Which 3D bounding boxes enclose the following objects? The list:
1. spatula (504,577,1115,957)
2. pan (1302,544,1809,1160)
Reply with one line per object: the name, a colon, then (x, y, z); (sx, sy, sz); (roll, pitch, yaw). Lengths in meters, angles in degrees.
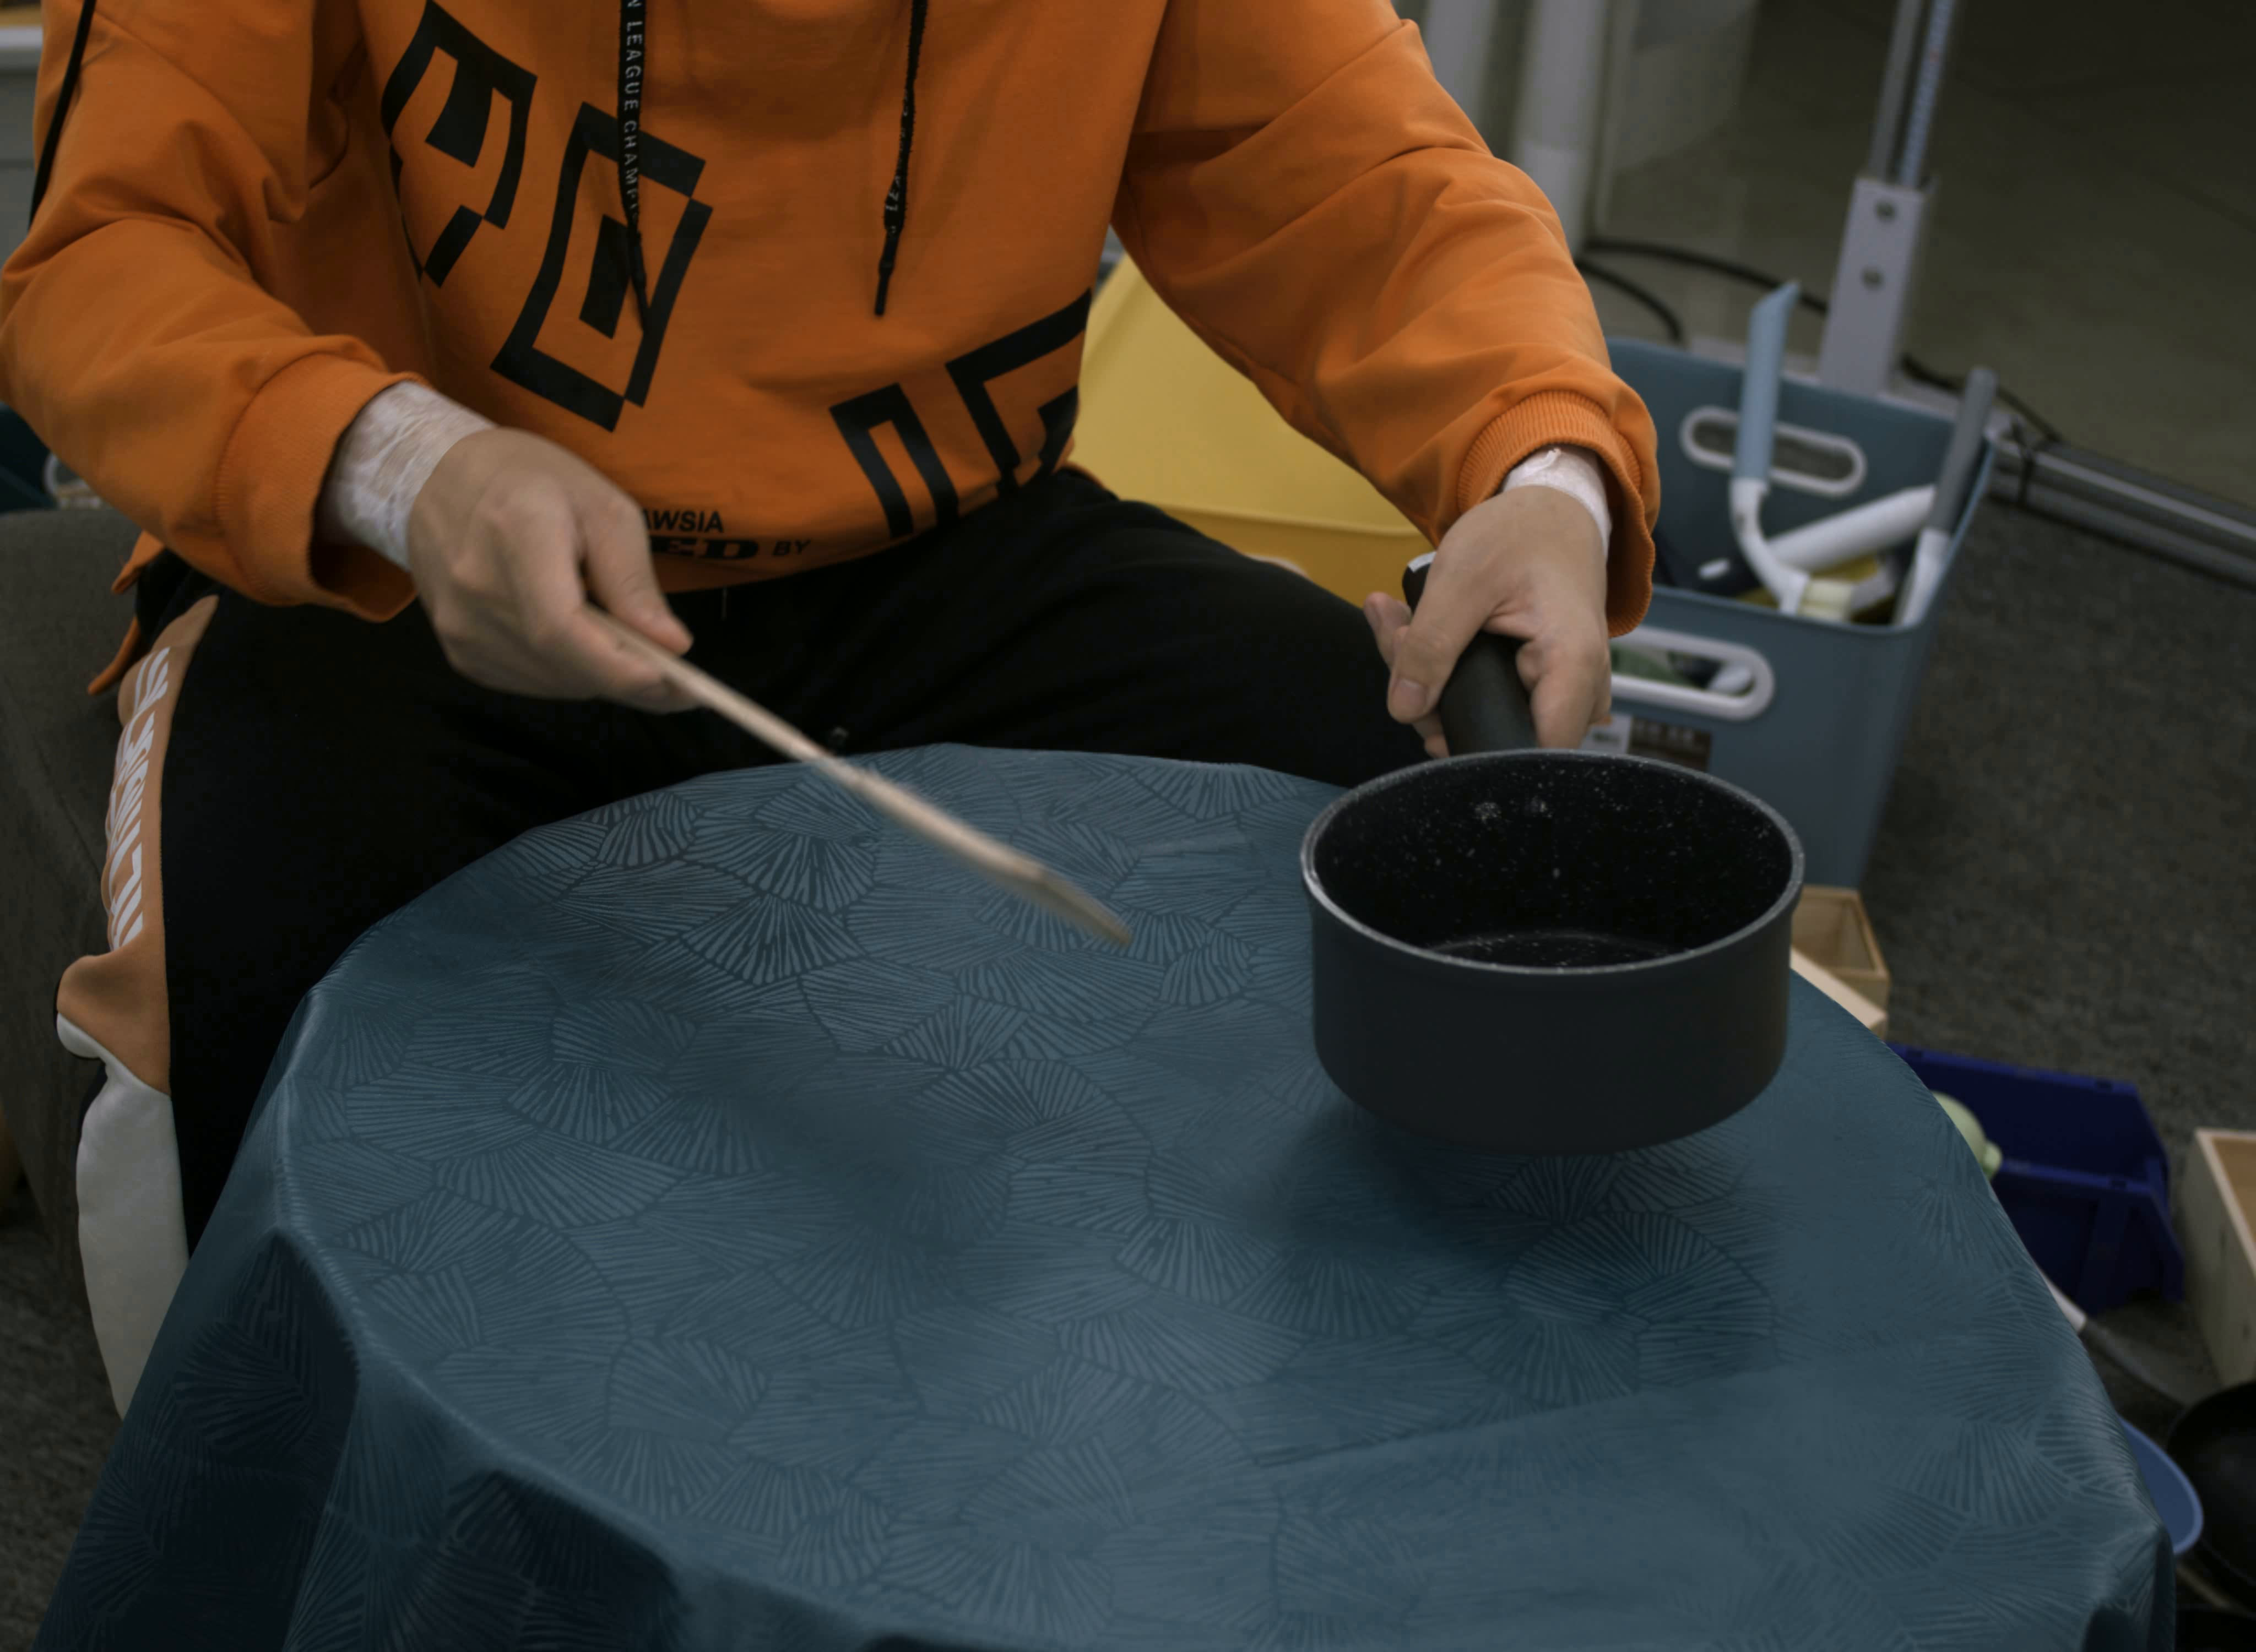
spatula: (-0.122, -0.026, 1.848); (0.295, 0.010, 0.071); (31, -1, 37)
pan: (0.141, 0.006, 1.886); (0.171, 0.086, 0.331); (-3, 27, -1)
